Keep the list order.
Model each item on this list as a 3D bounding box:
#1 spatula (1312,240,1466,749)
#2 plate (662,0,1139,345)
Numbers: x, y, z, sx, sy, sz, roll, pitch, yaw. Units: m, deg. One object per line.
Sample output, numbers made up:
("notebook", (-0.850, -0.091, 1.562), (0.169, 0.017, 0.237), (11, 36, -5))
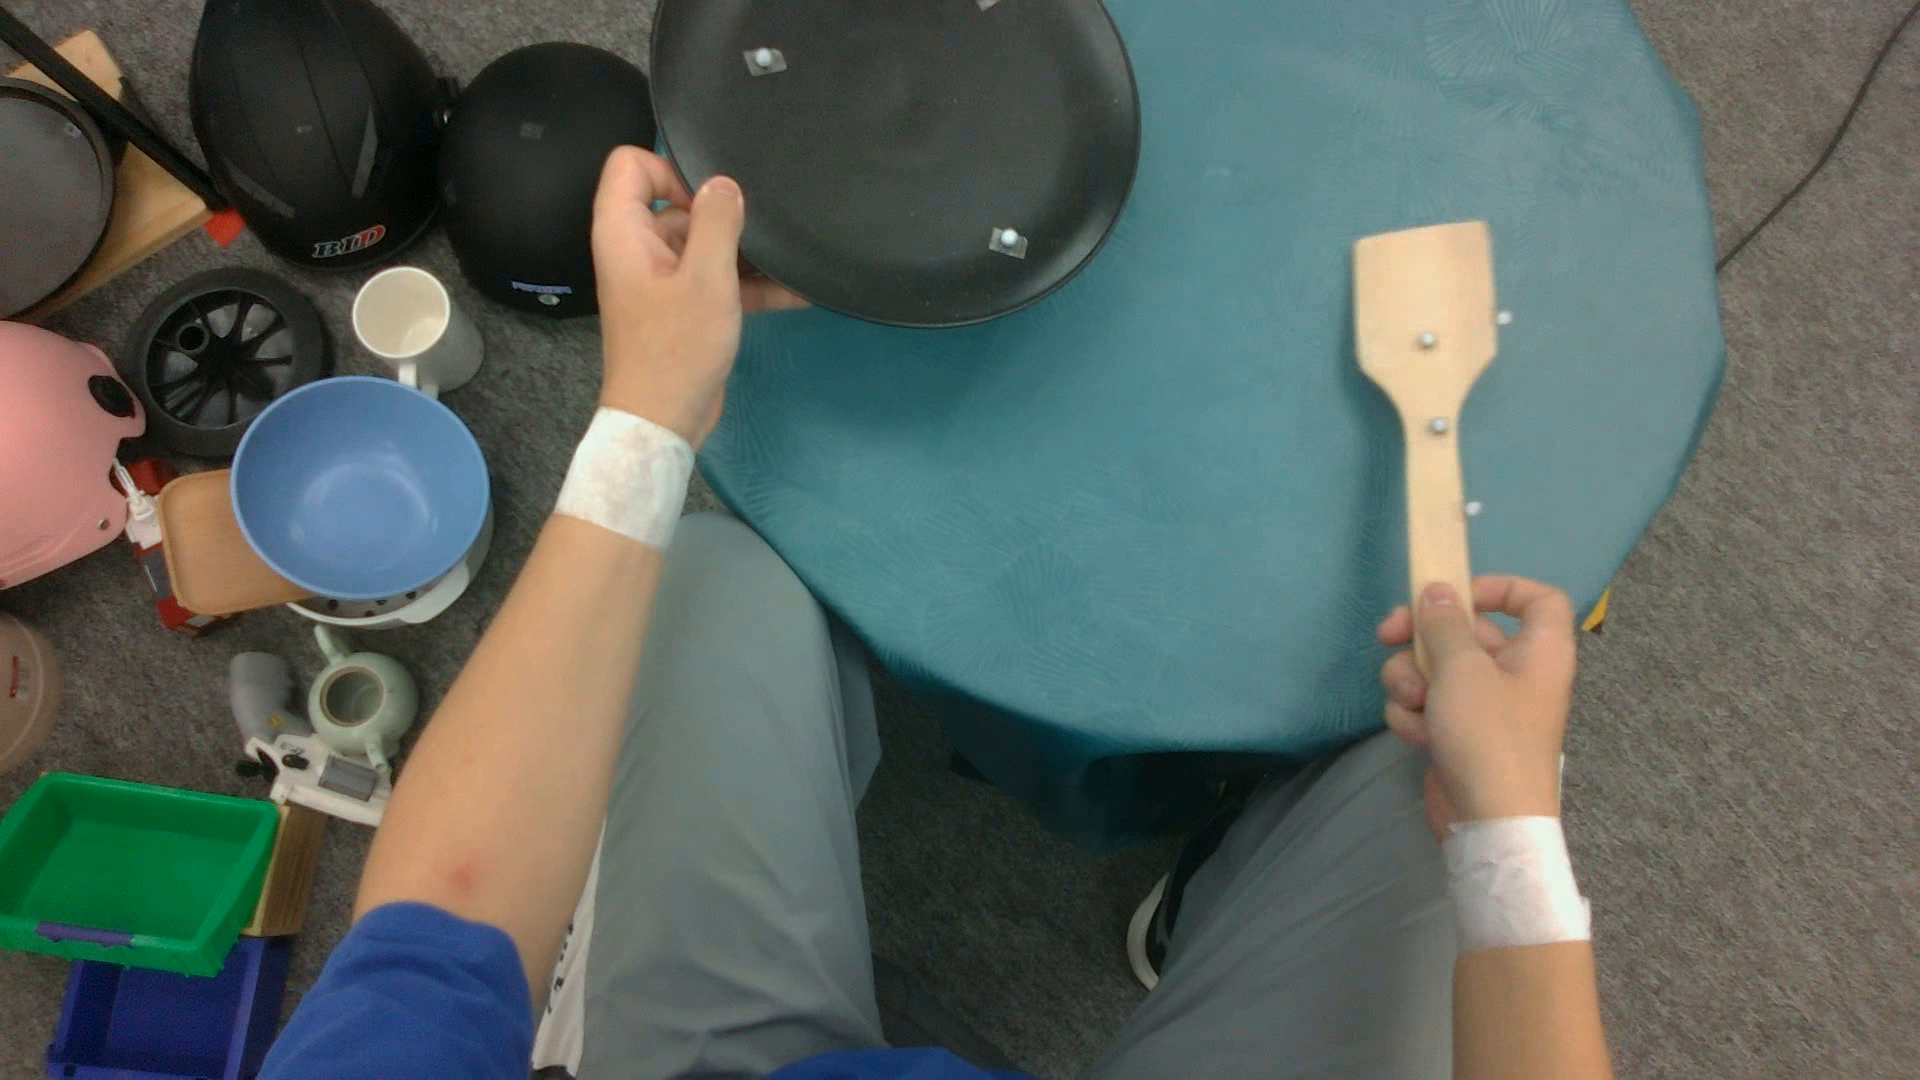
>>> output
("spatula", (0.231, -0.033, 0.714), (0.072, 0.010, 0.294), (-4, 64, 12))
("plate", (-0.027, -0.211, 0.697), (0.244, 0.023, 0.245), (3, 75, -13))
